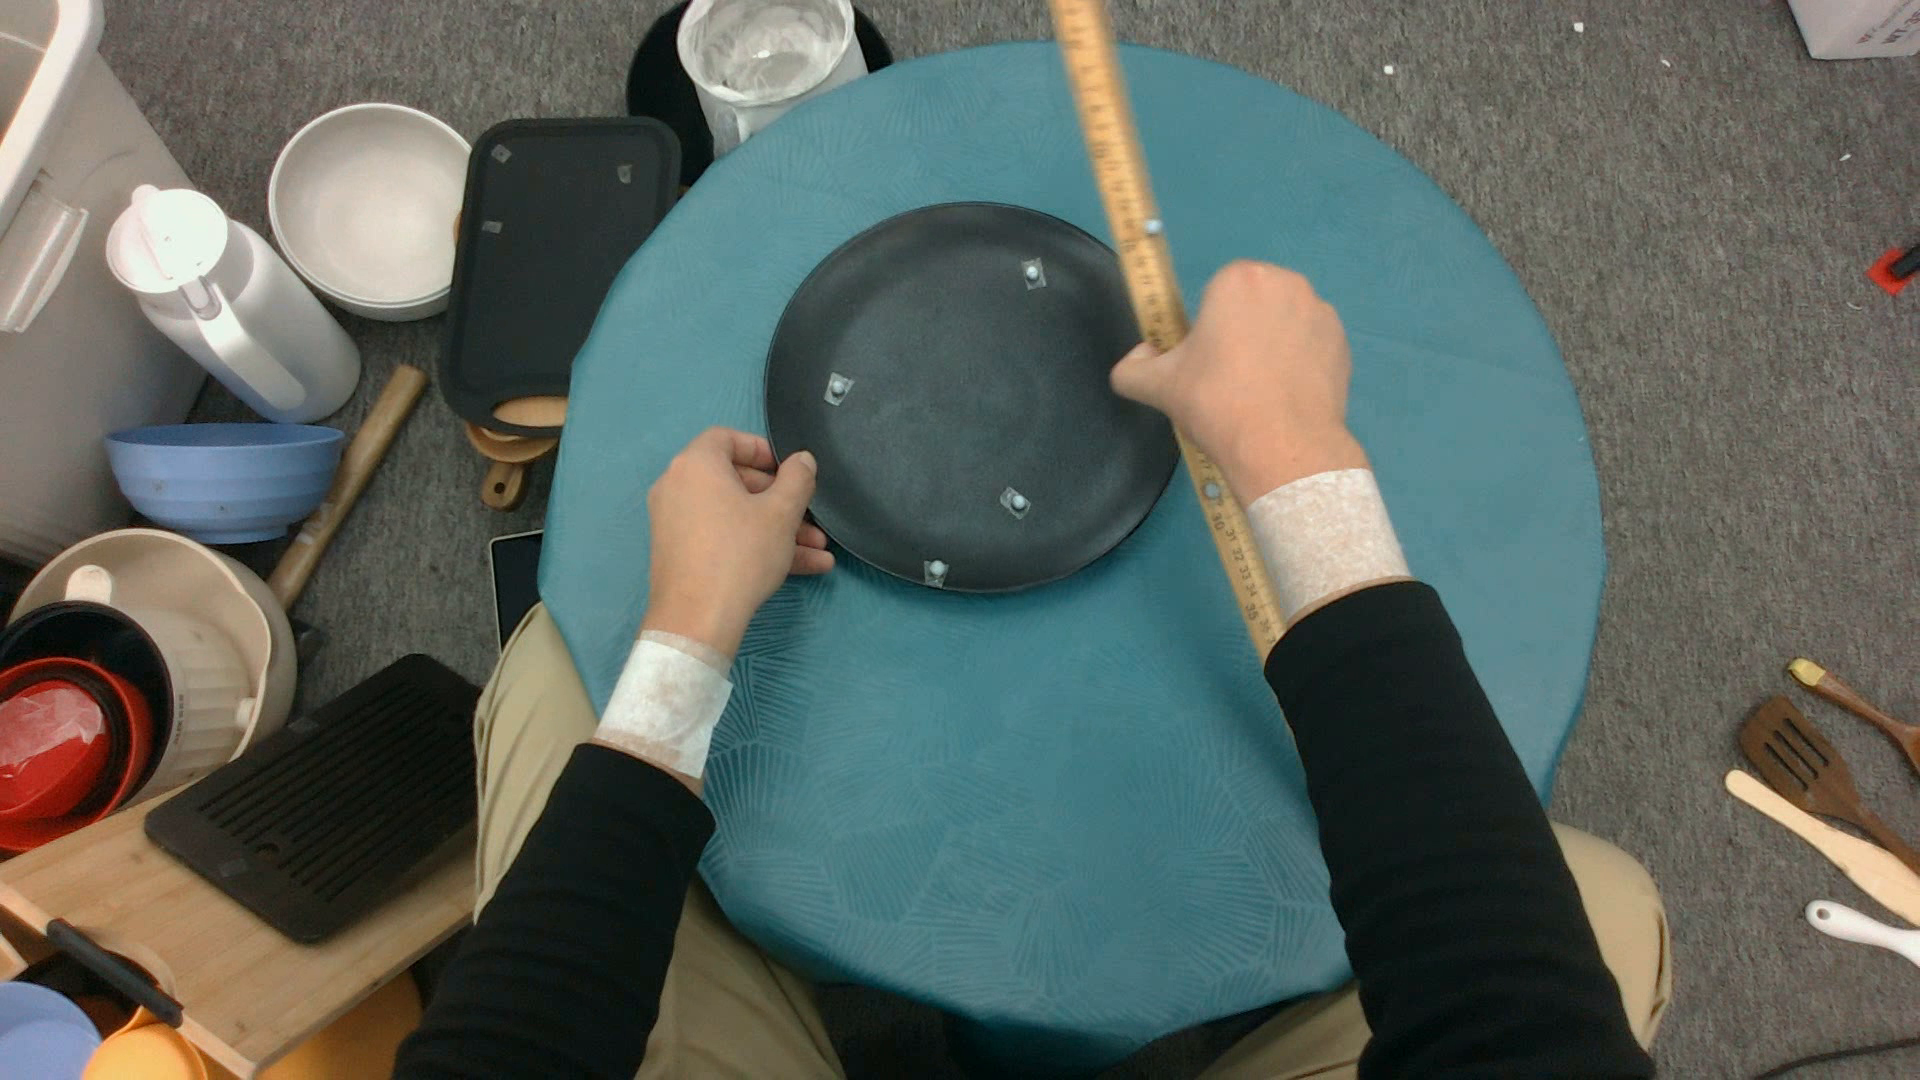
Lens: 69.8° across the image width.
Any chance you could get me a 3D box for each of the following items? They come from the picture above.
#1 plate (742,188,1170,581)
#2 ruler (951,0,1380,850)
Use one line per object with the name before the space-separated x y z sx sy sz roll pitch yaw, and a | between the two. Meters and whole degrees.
plate | -0.002 -0.091 0.790 0.244 0.023 0.245 1 72 -3
ruler | 0.104 -0.066 0.703 0.027 0.006 0.500 -27 95 -16
